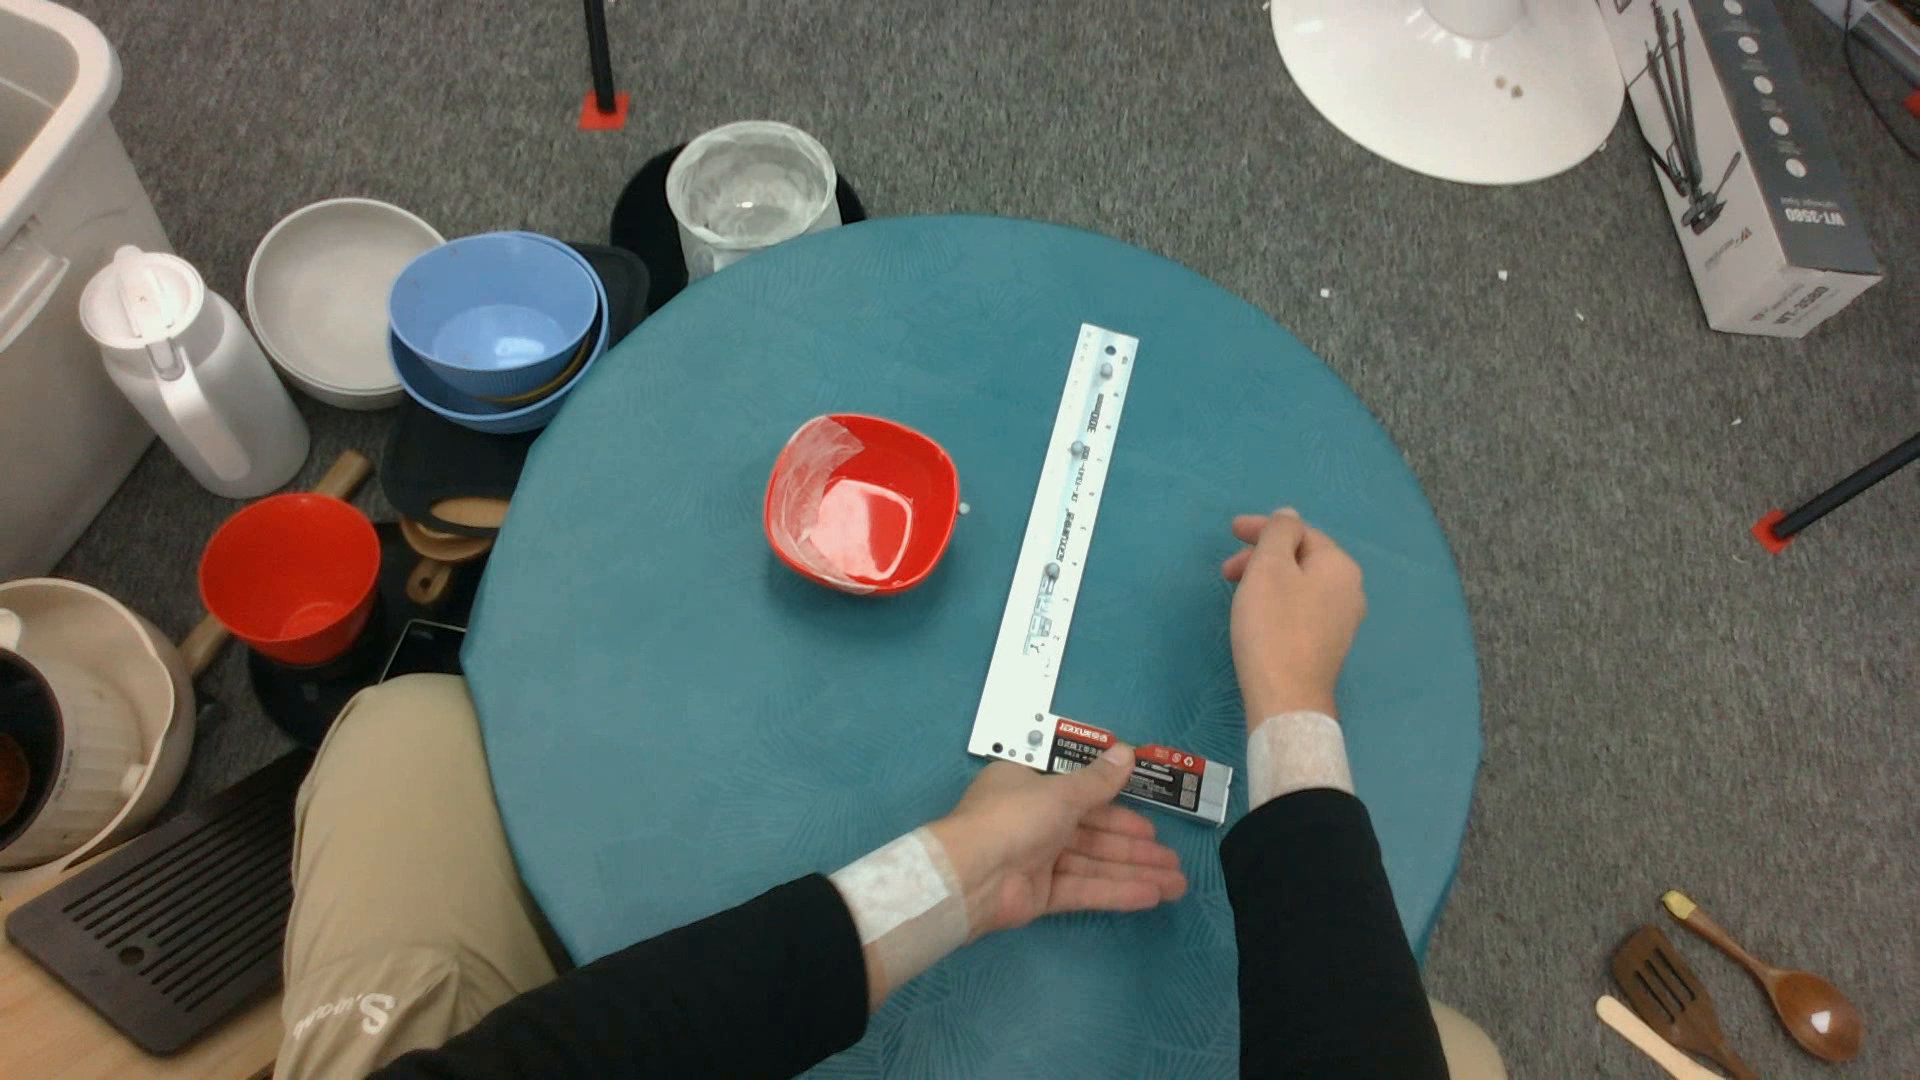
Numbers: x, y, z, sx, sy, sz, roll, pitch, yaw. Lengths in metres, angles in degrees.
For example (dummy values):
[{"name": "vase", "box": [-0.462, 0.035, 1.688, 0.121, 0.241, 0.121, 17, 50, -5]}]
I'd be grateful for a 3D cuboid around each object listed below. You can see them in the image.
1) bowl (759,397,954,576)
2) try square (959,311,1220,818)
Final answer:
[{"name": "bowl", "box": [-0.062, -0.024, 0.813, 0.119, 0.051, 0.119, 5, 62, -9]}, {"name": "try square", "box": [0.108, 0.003, 0.854, 0.152, 0.016, 0.314, 18, 63, -3]}]
